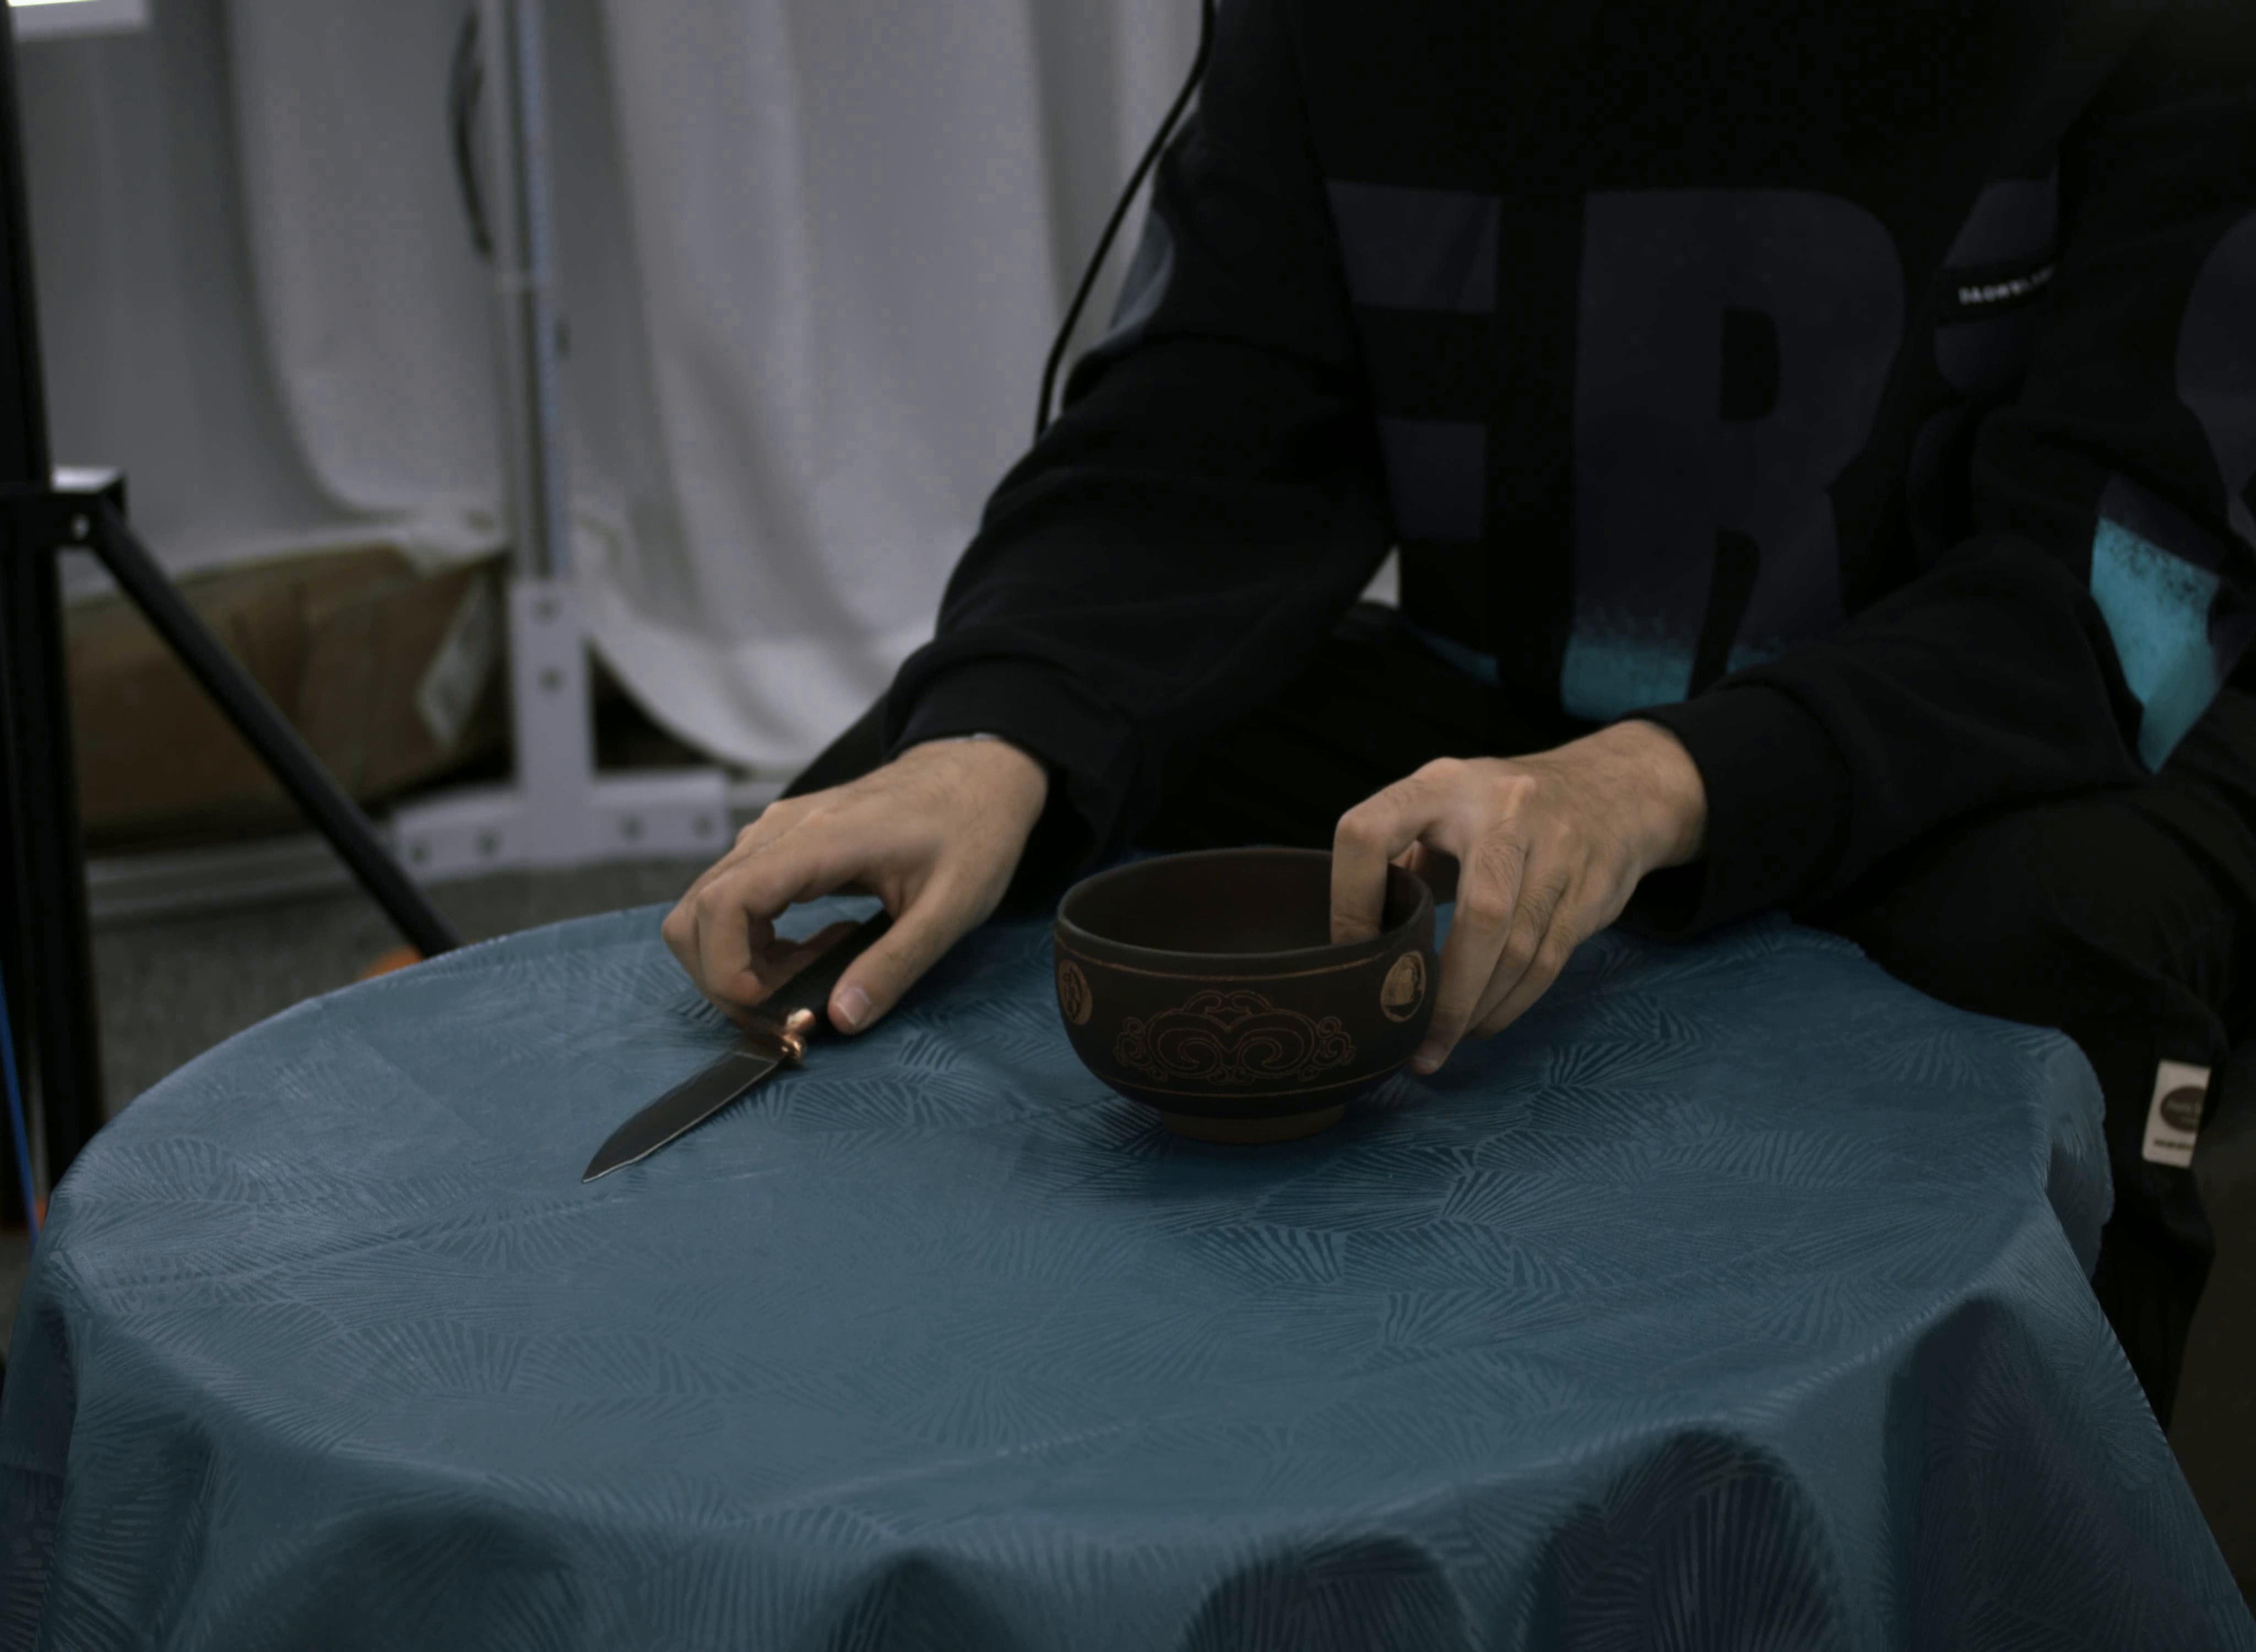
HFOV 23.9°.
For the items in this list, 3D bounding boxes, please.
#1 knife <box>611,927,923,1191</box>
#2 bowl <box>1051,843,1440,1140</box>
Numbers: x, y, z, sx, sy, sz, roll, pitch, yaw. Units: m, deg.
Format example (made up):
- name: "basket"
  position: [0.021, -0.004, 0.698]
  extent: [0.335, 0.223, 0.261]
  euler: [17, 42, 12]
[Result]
- name: "knife"
  position: [-0.116, 0.073, 1.682]
  extent: [0.026, 0.017, 0.222]
  euler: [12, 22, 19]
- name: "bowl"
  position: [0.036, 0.054, 1.606]
  extent: [0.117, 0.070, 0.118]
  euler: [-1, 15, -1]
